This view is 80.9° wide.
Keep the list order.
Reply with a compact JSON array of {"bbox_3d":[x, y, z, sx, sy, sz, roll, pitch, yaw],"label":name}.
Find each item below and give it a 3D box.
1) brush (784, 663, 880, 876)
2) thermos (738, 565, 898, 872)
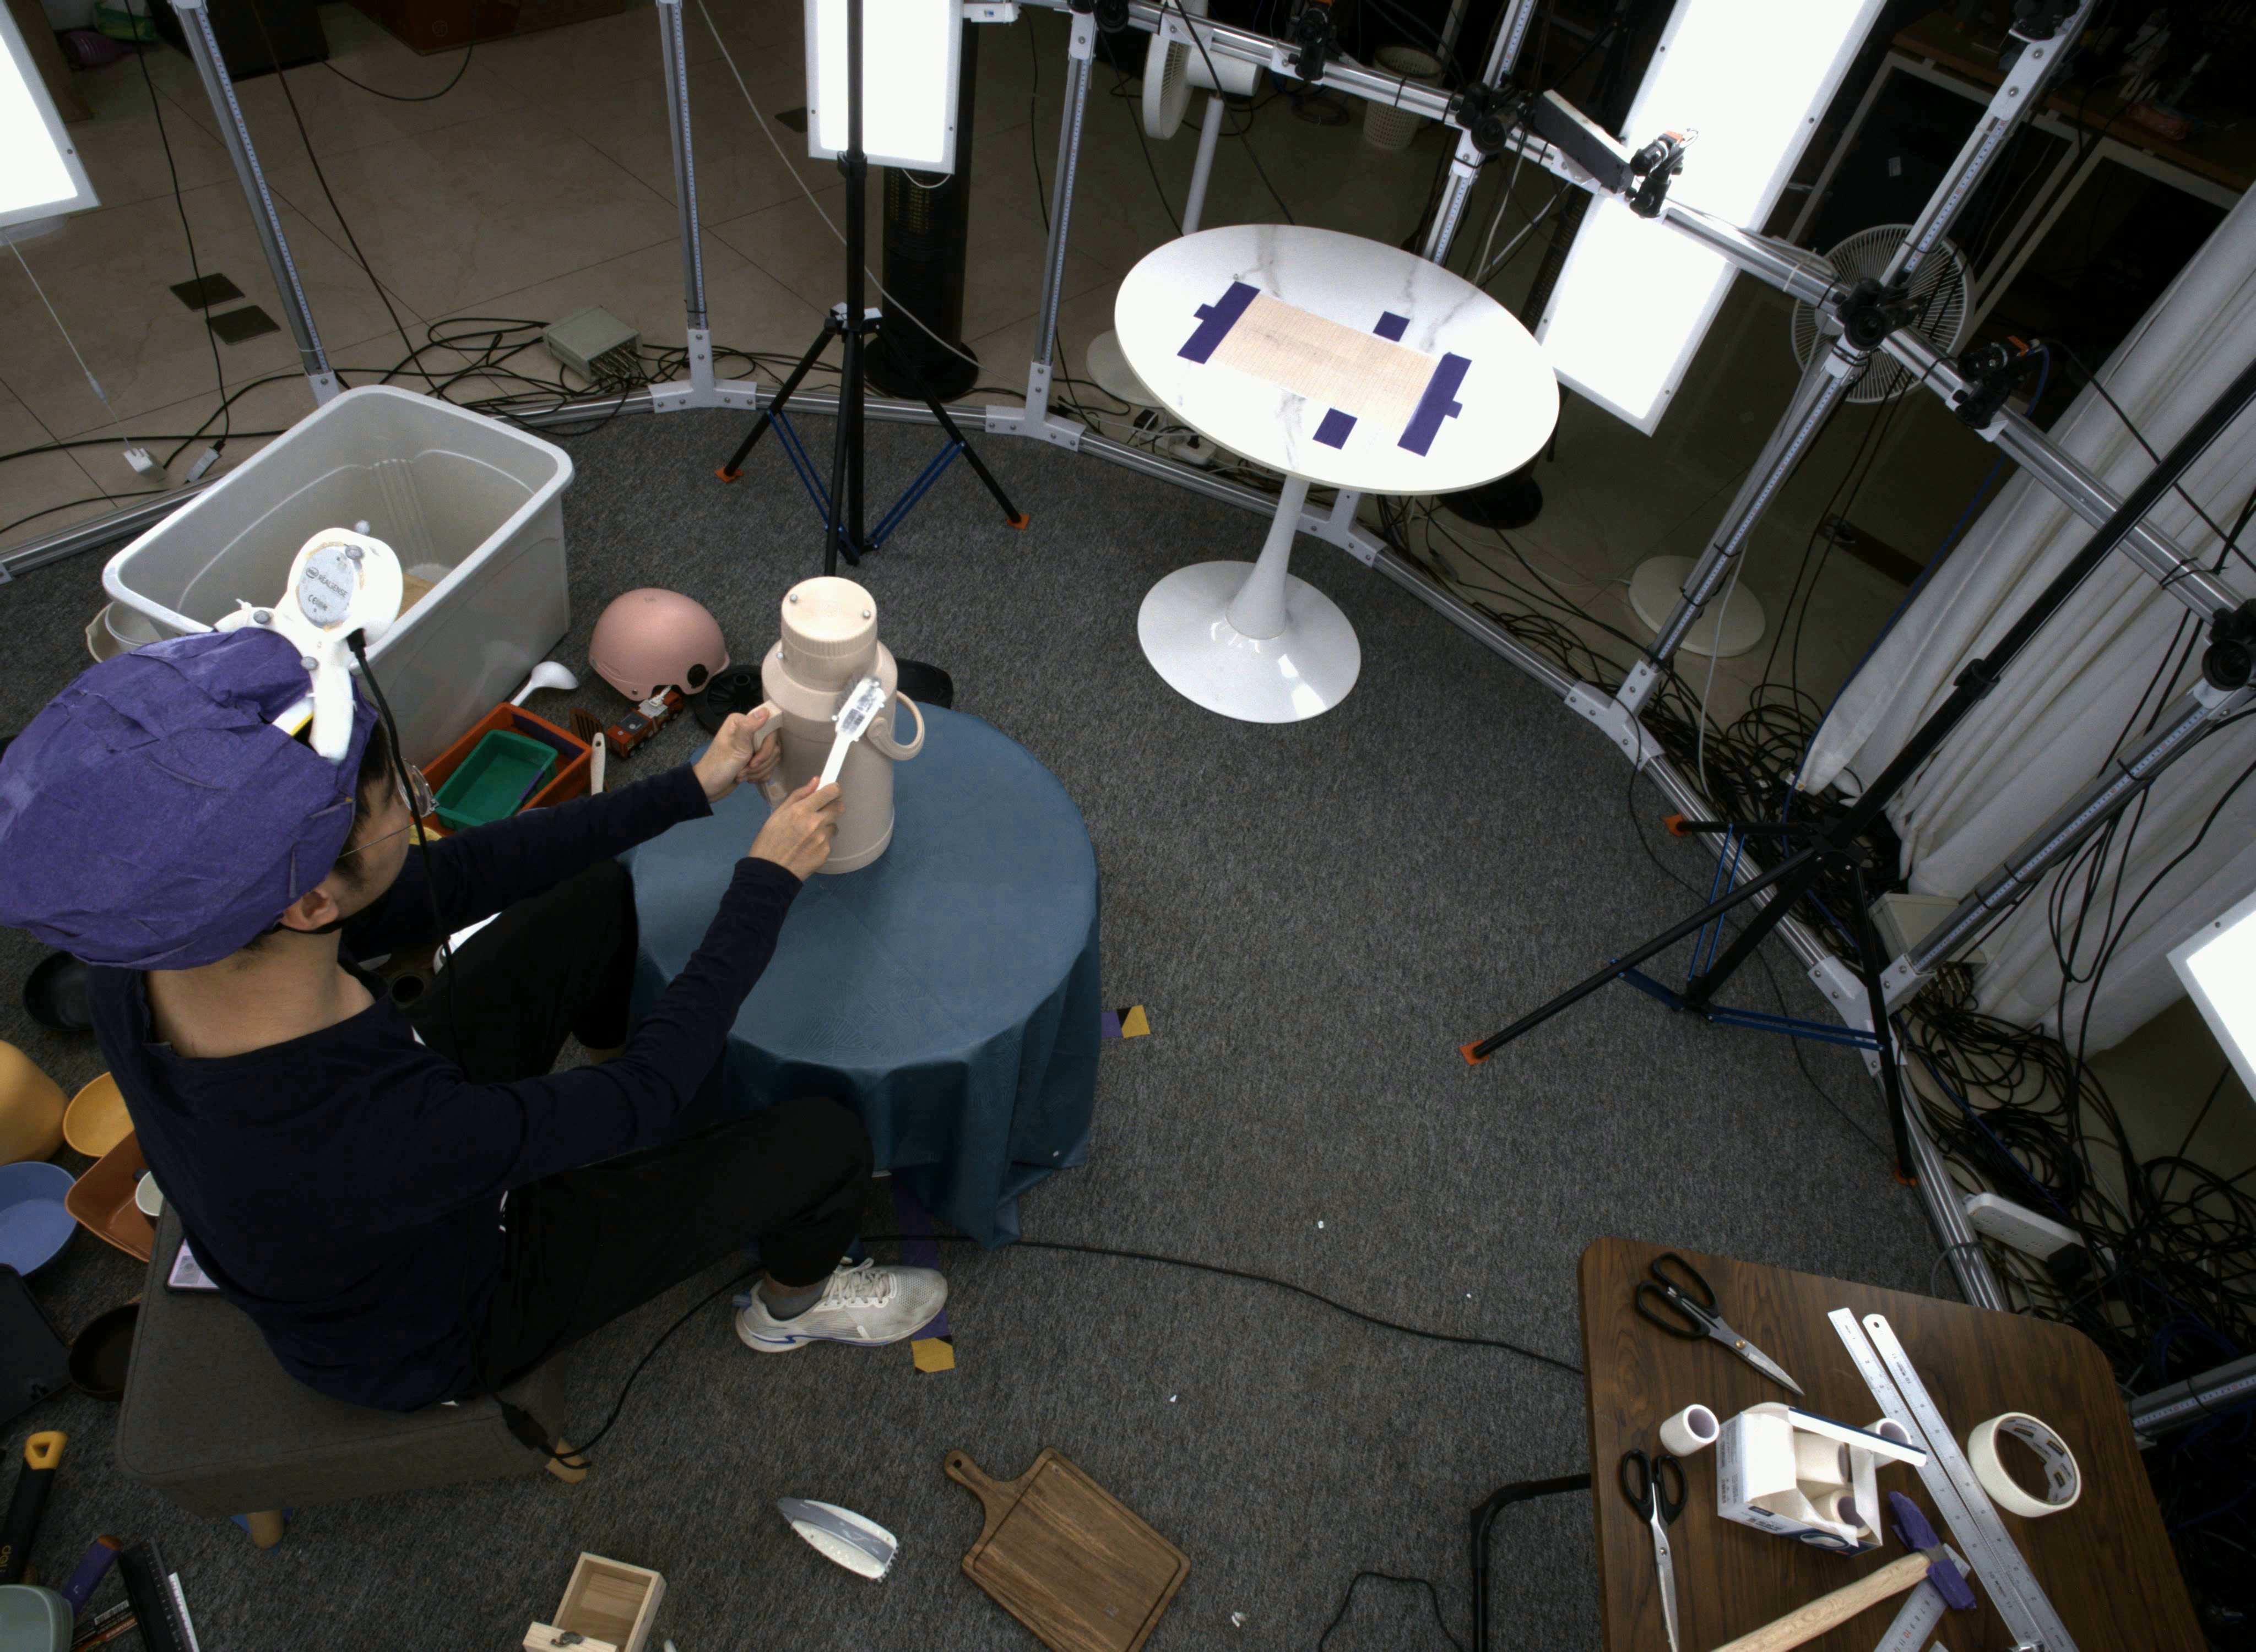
[{"bbox_3d":[-0.338,-0.063,1.446,0.035,0.246,0.048,16,13,-41],"label":"brush"},{"bbox_3d":[-0.376,-0.119,1.570,0.171,0.414,0.207,40,56,17],"label":"thermos"}]
